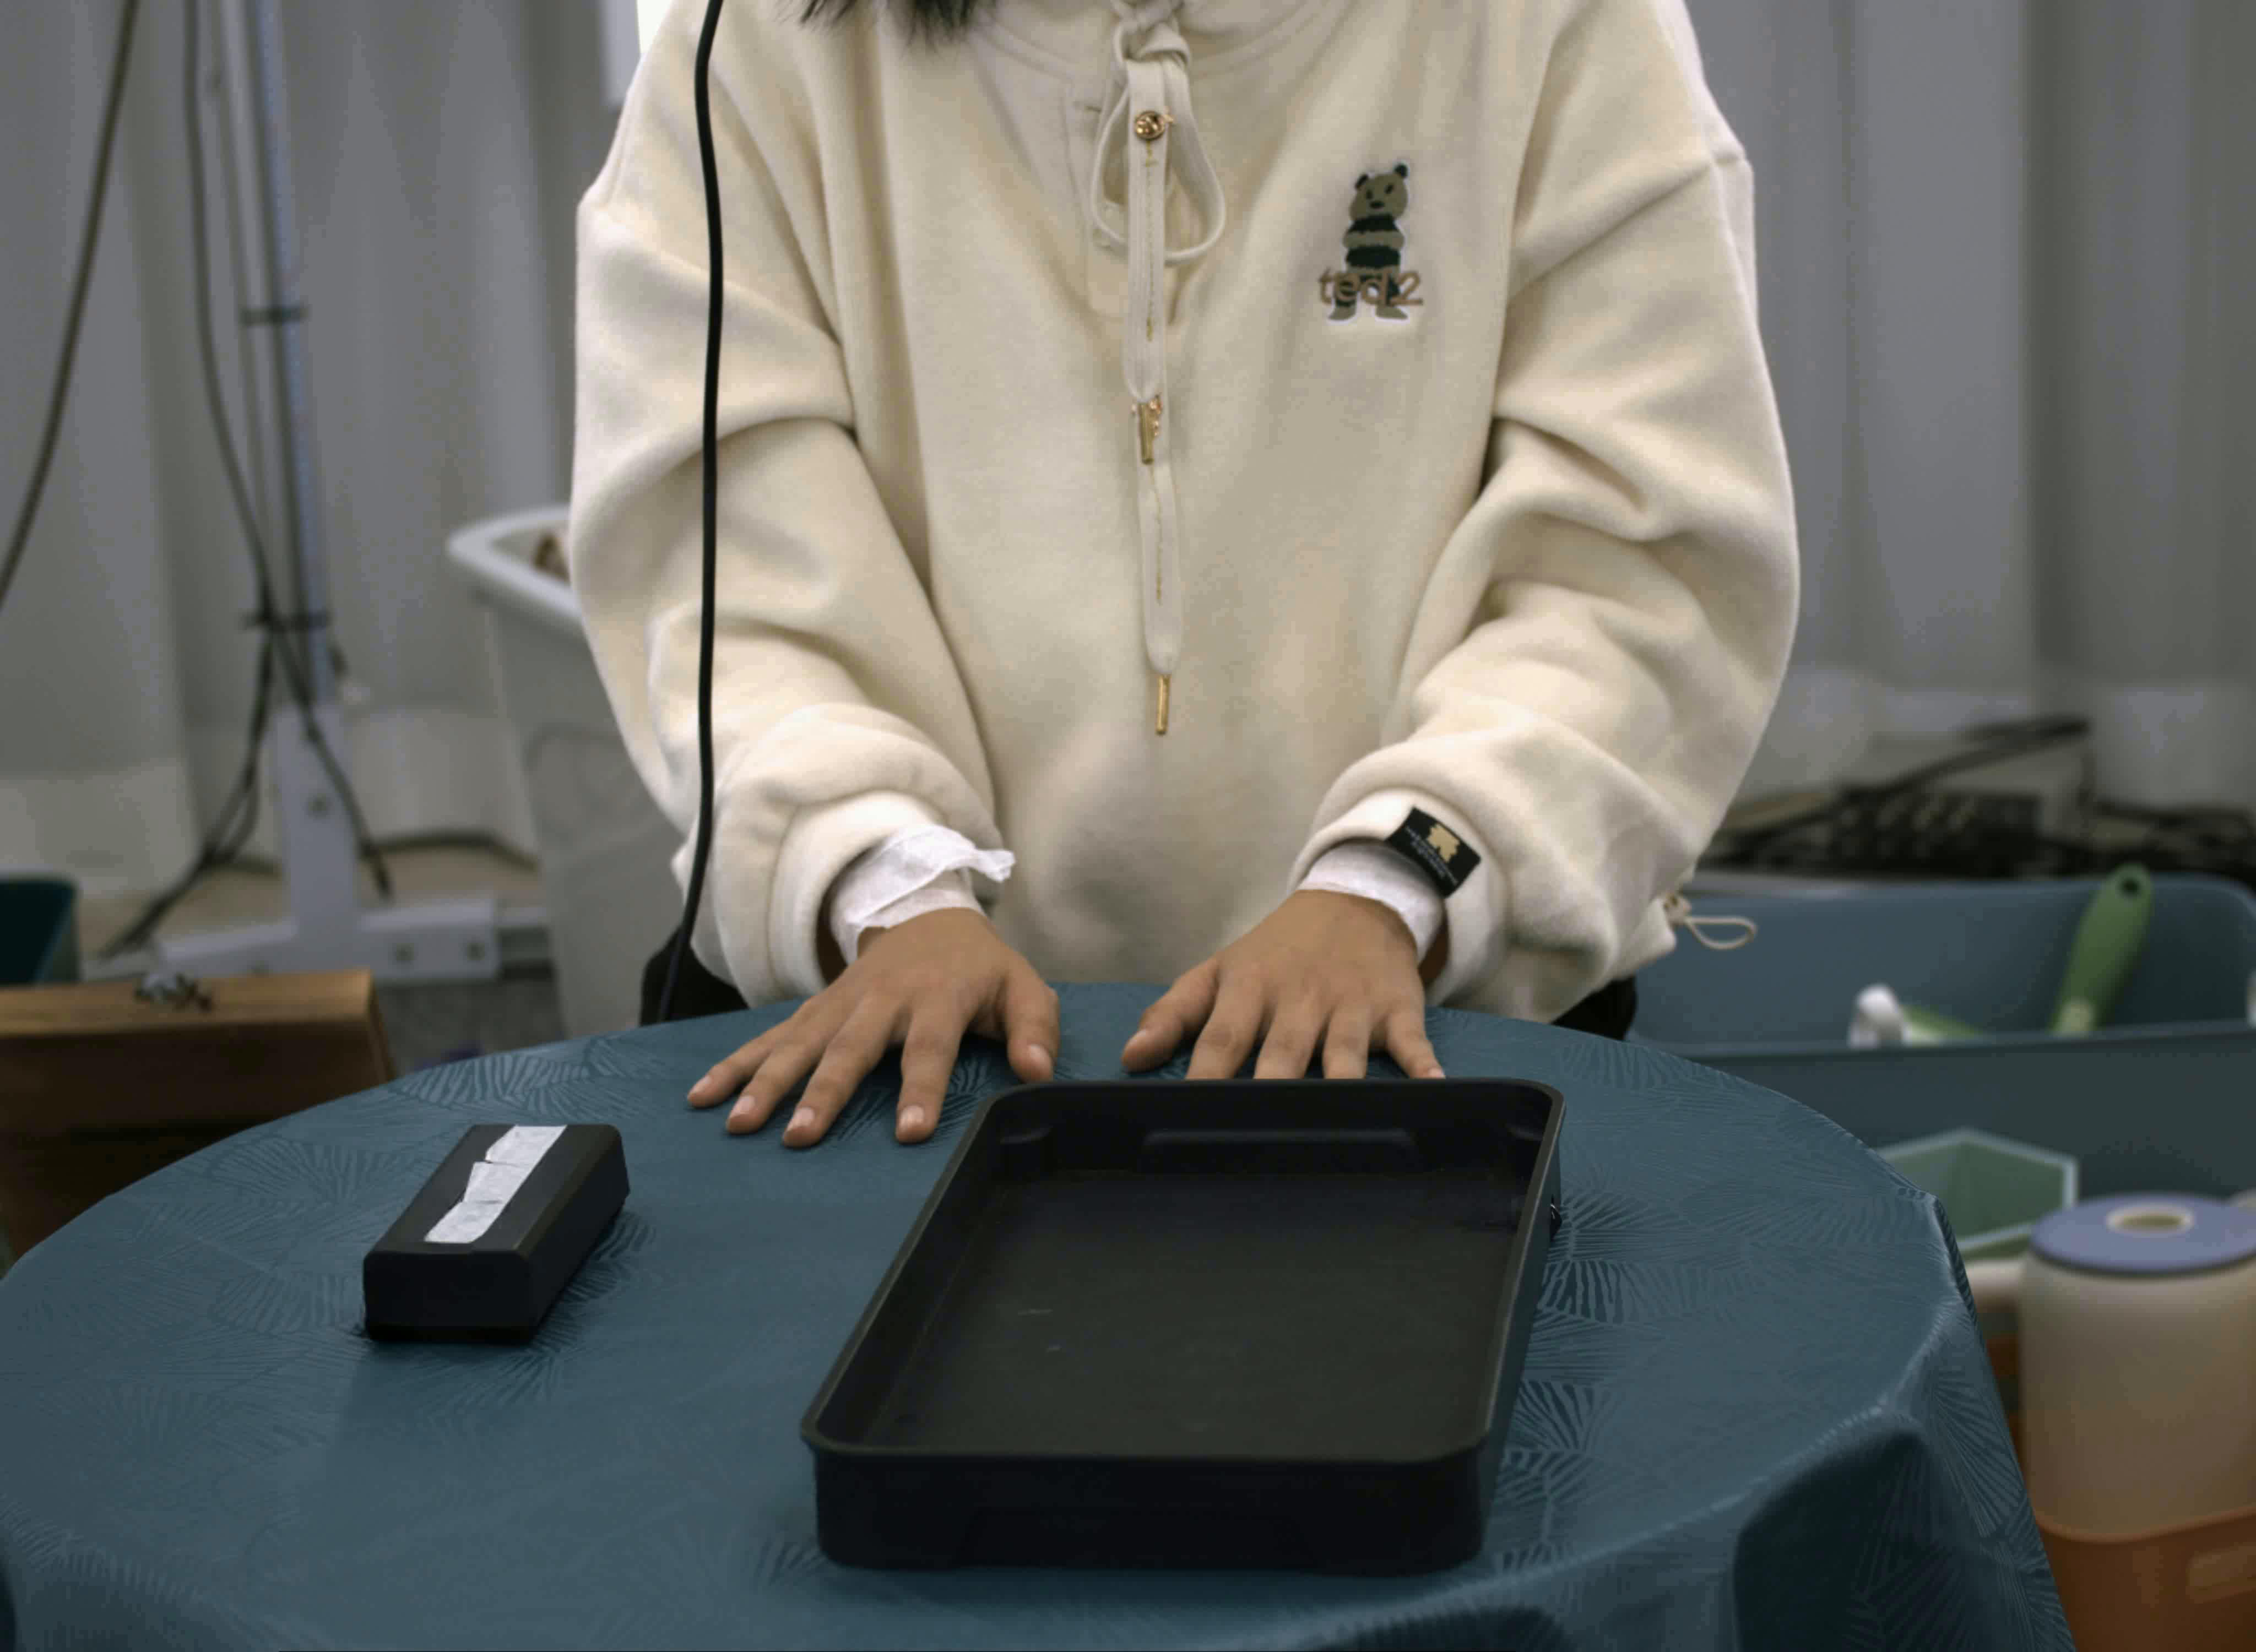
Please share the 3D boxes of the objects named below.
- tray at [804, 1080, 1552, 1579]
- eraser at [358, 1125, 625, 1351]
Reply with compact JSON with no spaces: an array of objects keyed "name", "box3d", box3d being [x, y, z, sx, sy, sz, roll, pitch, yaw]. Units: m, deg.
[{"name":"tray","box3d":[0.023,0.137,1.553,0.184,0.037,0.319,-1,15,8]},{"name":"eraser","box3d":[-0.192,0.124,1.662,0.053,0.030,0.126,3,15,7]}]
